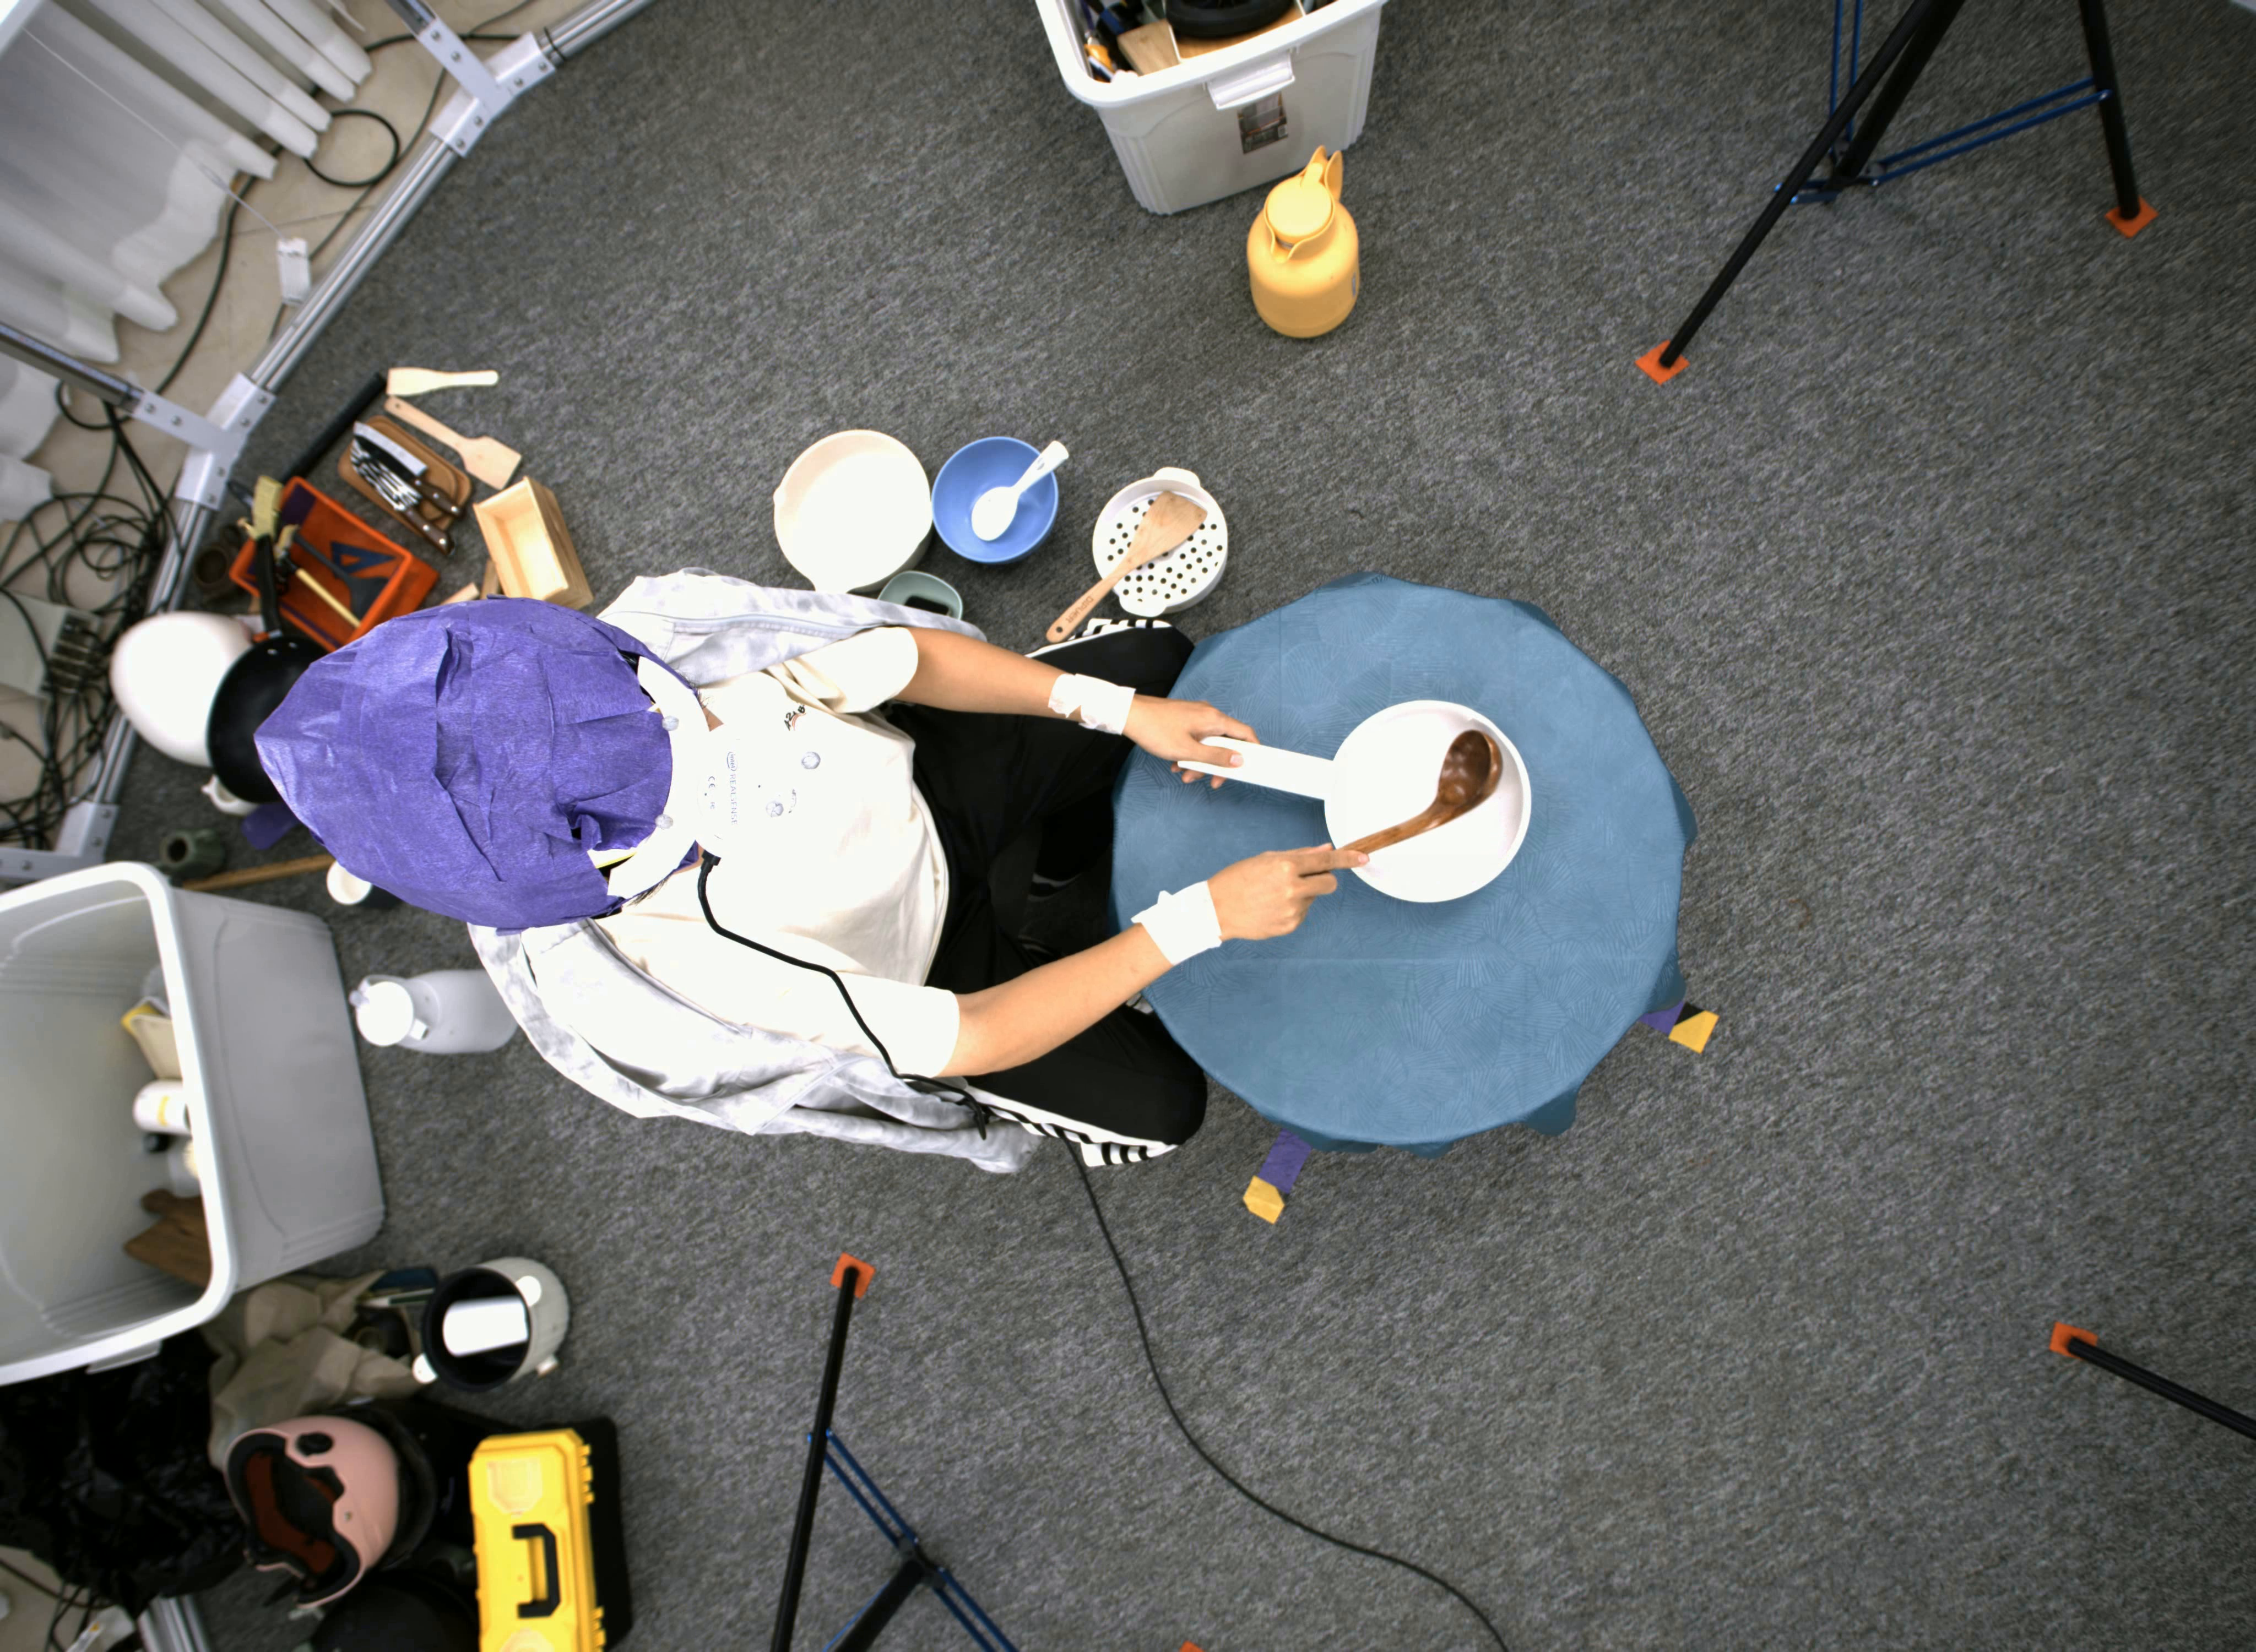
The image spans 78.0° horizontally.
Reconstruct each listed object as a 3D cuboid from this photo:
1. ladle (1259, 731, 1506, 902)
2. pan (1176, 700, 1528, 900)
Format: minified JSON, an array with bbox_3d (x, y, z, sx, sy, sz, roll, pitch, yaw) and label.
[{"bbox_3d":[0.240,-0.013,1.316,0.273,0.081,0.077,-22,102,-10],"label":"ladle"},{"bbox_3d":[0.228,-0.041,1.422,0.355,0.102,0.201,14,90,12],"label":"pan"}]
